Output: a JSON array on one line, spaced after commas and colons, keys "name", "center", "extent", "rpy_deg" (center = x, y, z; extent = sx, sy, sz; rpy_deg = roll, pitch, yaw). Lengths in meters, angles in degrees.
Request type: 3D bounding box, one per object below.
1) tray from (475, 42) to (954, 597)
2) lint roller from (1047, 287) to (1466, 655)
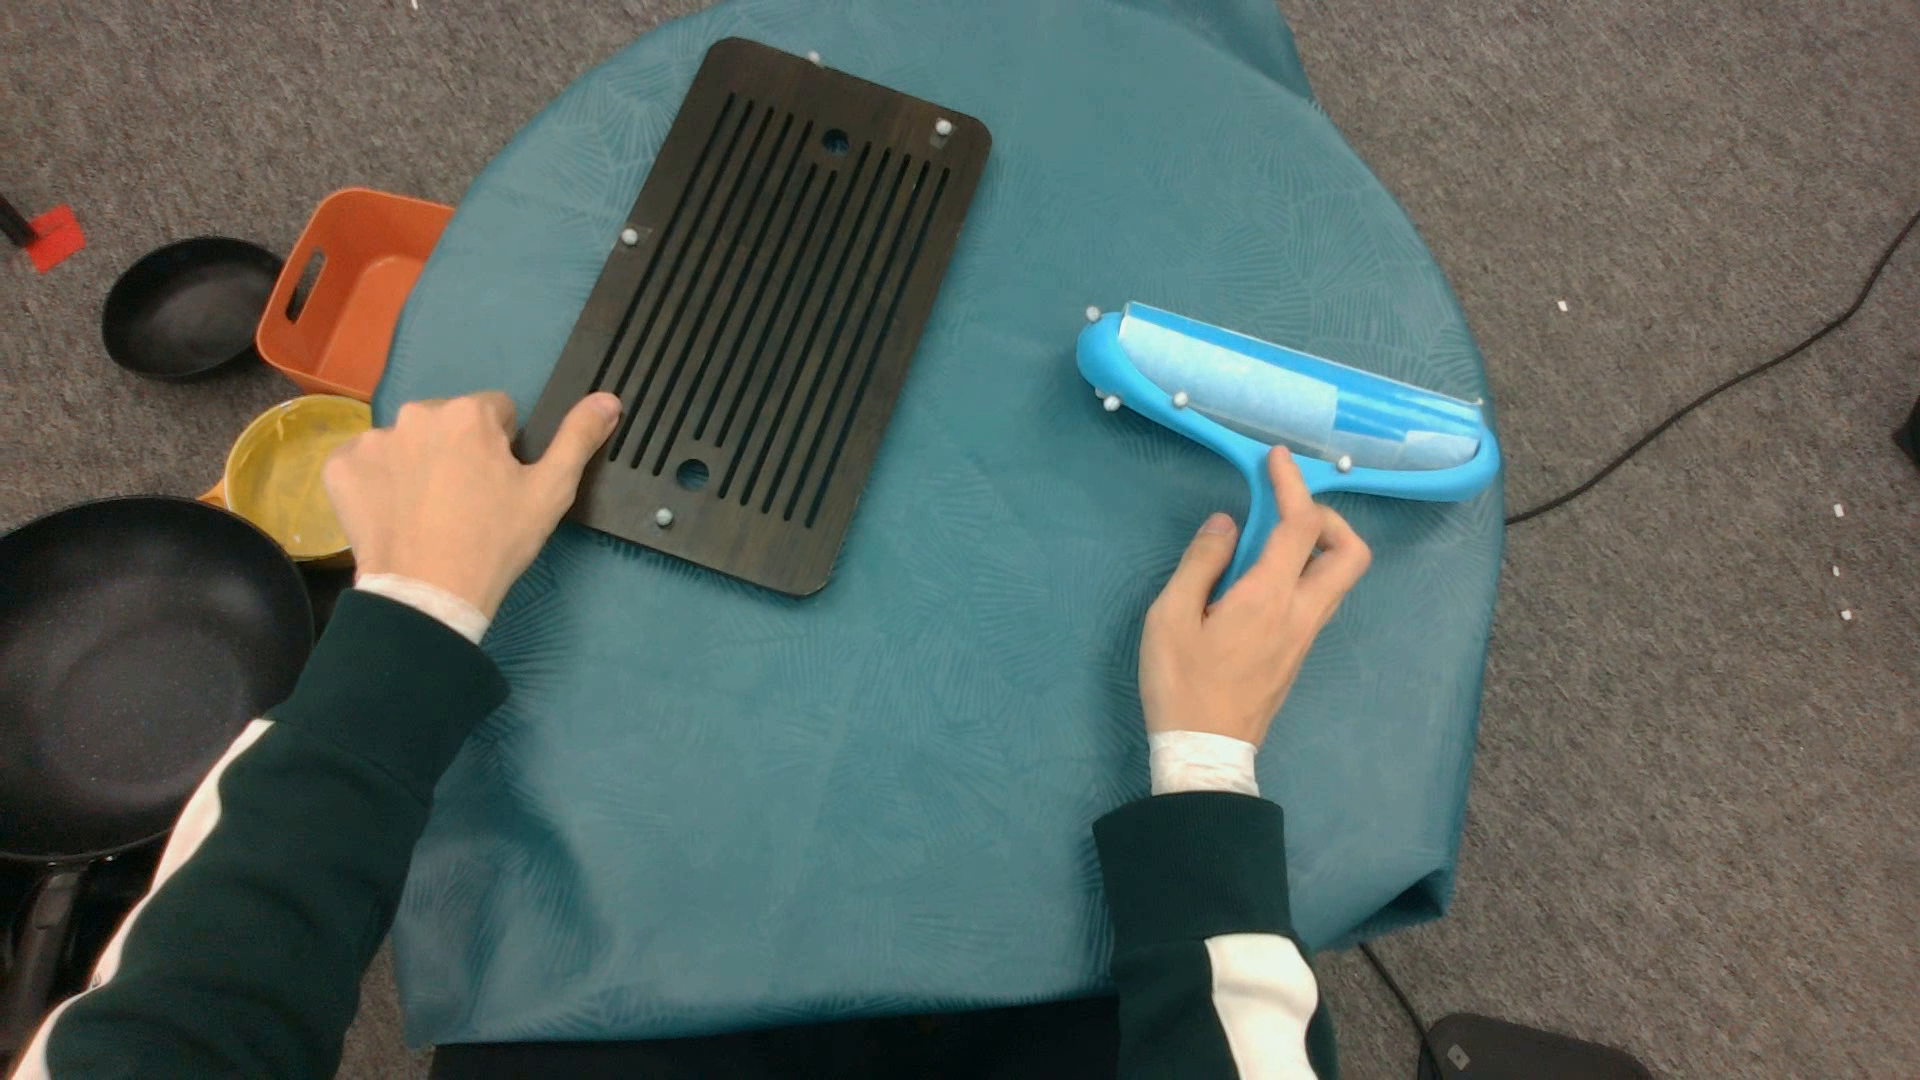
[{"name": "tray", "center": [-0.122, -0.127, 0.739], "extent": [0.170, 0.018, 0.307], "rpy_deg": [17, 68, 0]}, {"name": "lint roller", "center": [0.147, -0.032, 0.713], "extent": [0.229, 0.067, 0.181], "rpy_deg": [13, 67, -4]}]
